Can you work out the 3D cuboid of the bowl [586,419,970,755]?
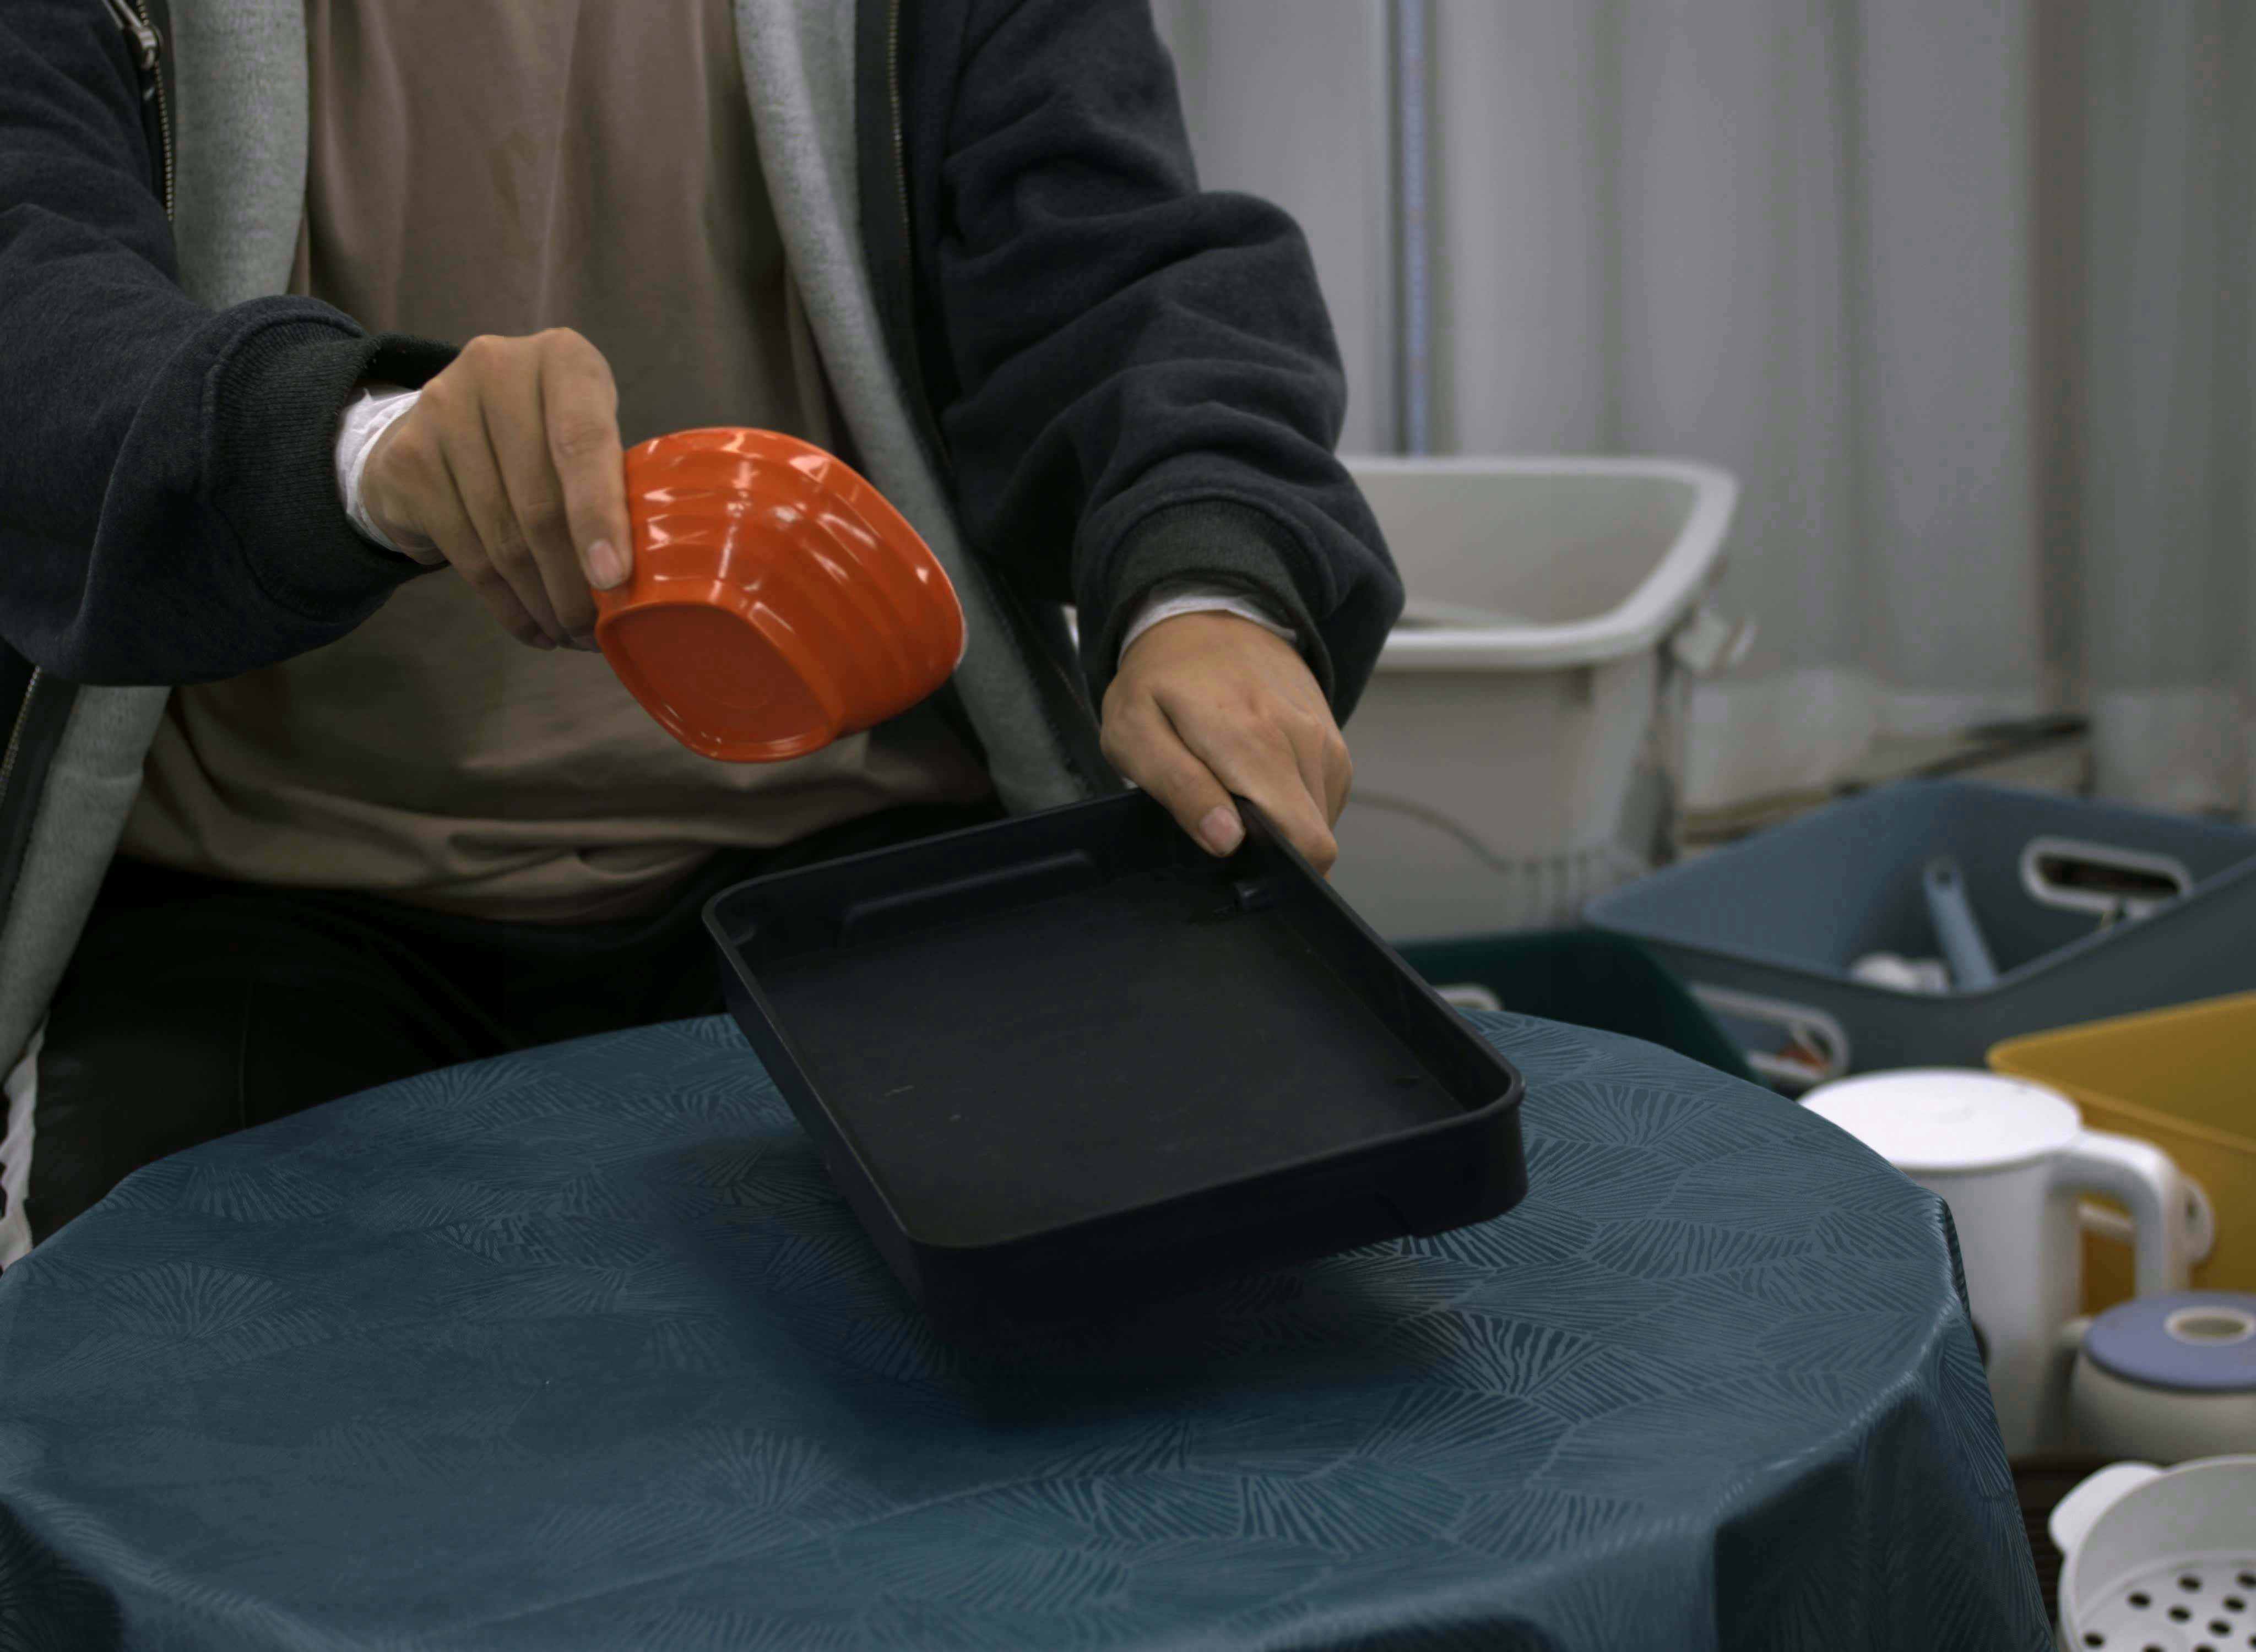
[{"bbox_3d":[-0.109,-0.062,1.588,0.119,0.117,0.052,6,53,30],"label":"bowl"}]

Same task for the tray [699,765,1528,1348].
[{"bbox_3d":[-0.011,0.063,1.658,0.183,0.037,0.321,-14,21,-12],"label":"tray"}]
